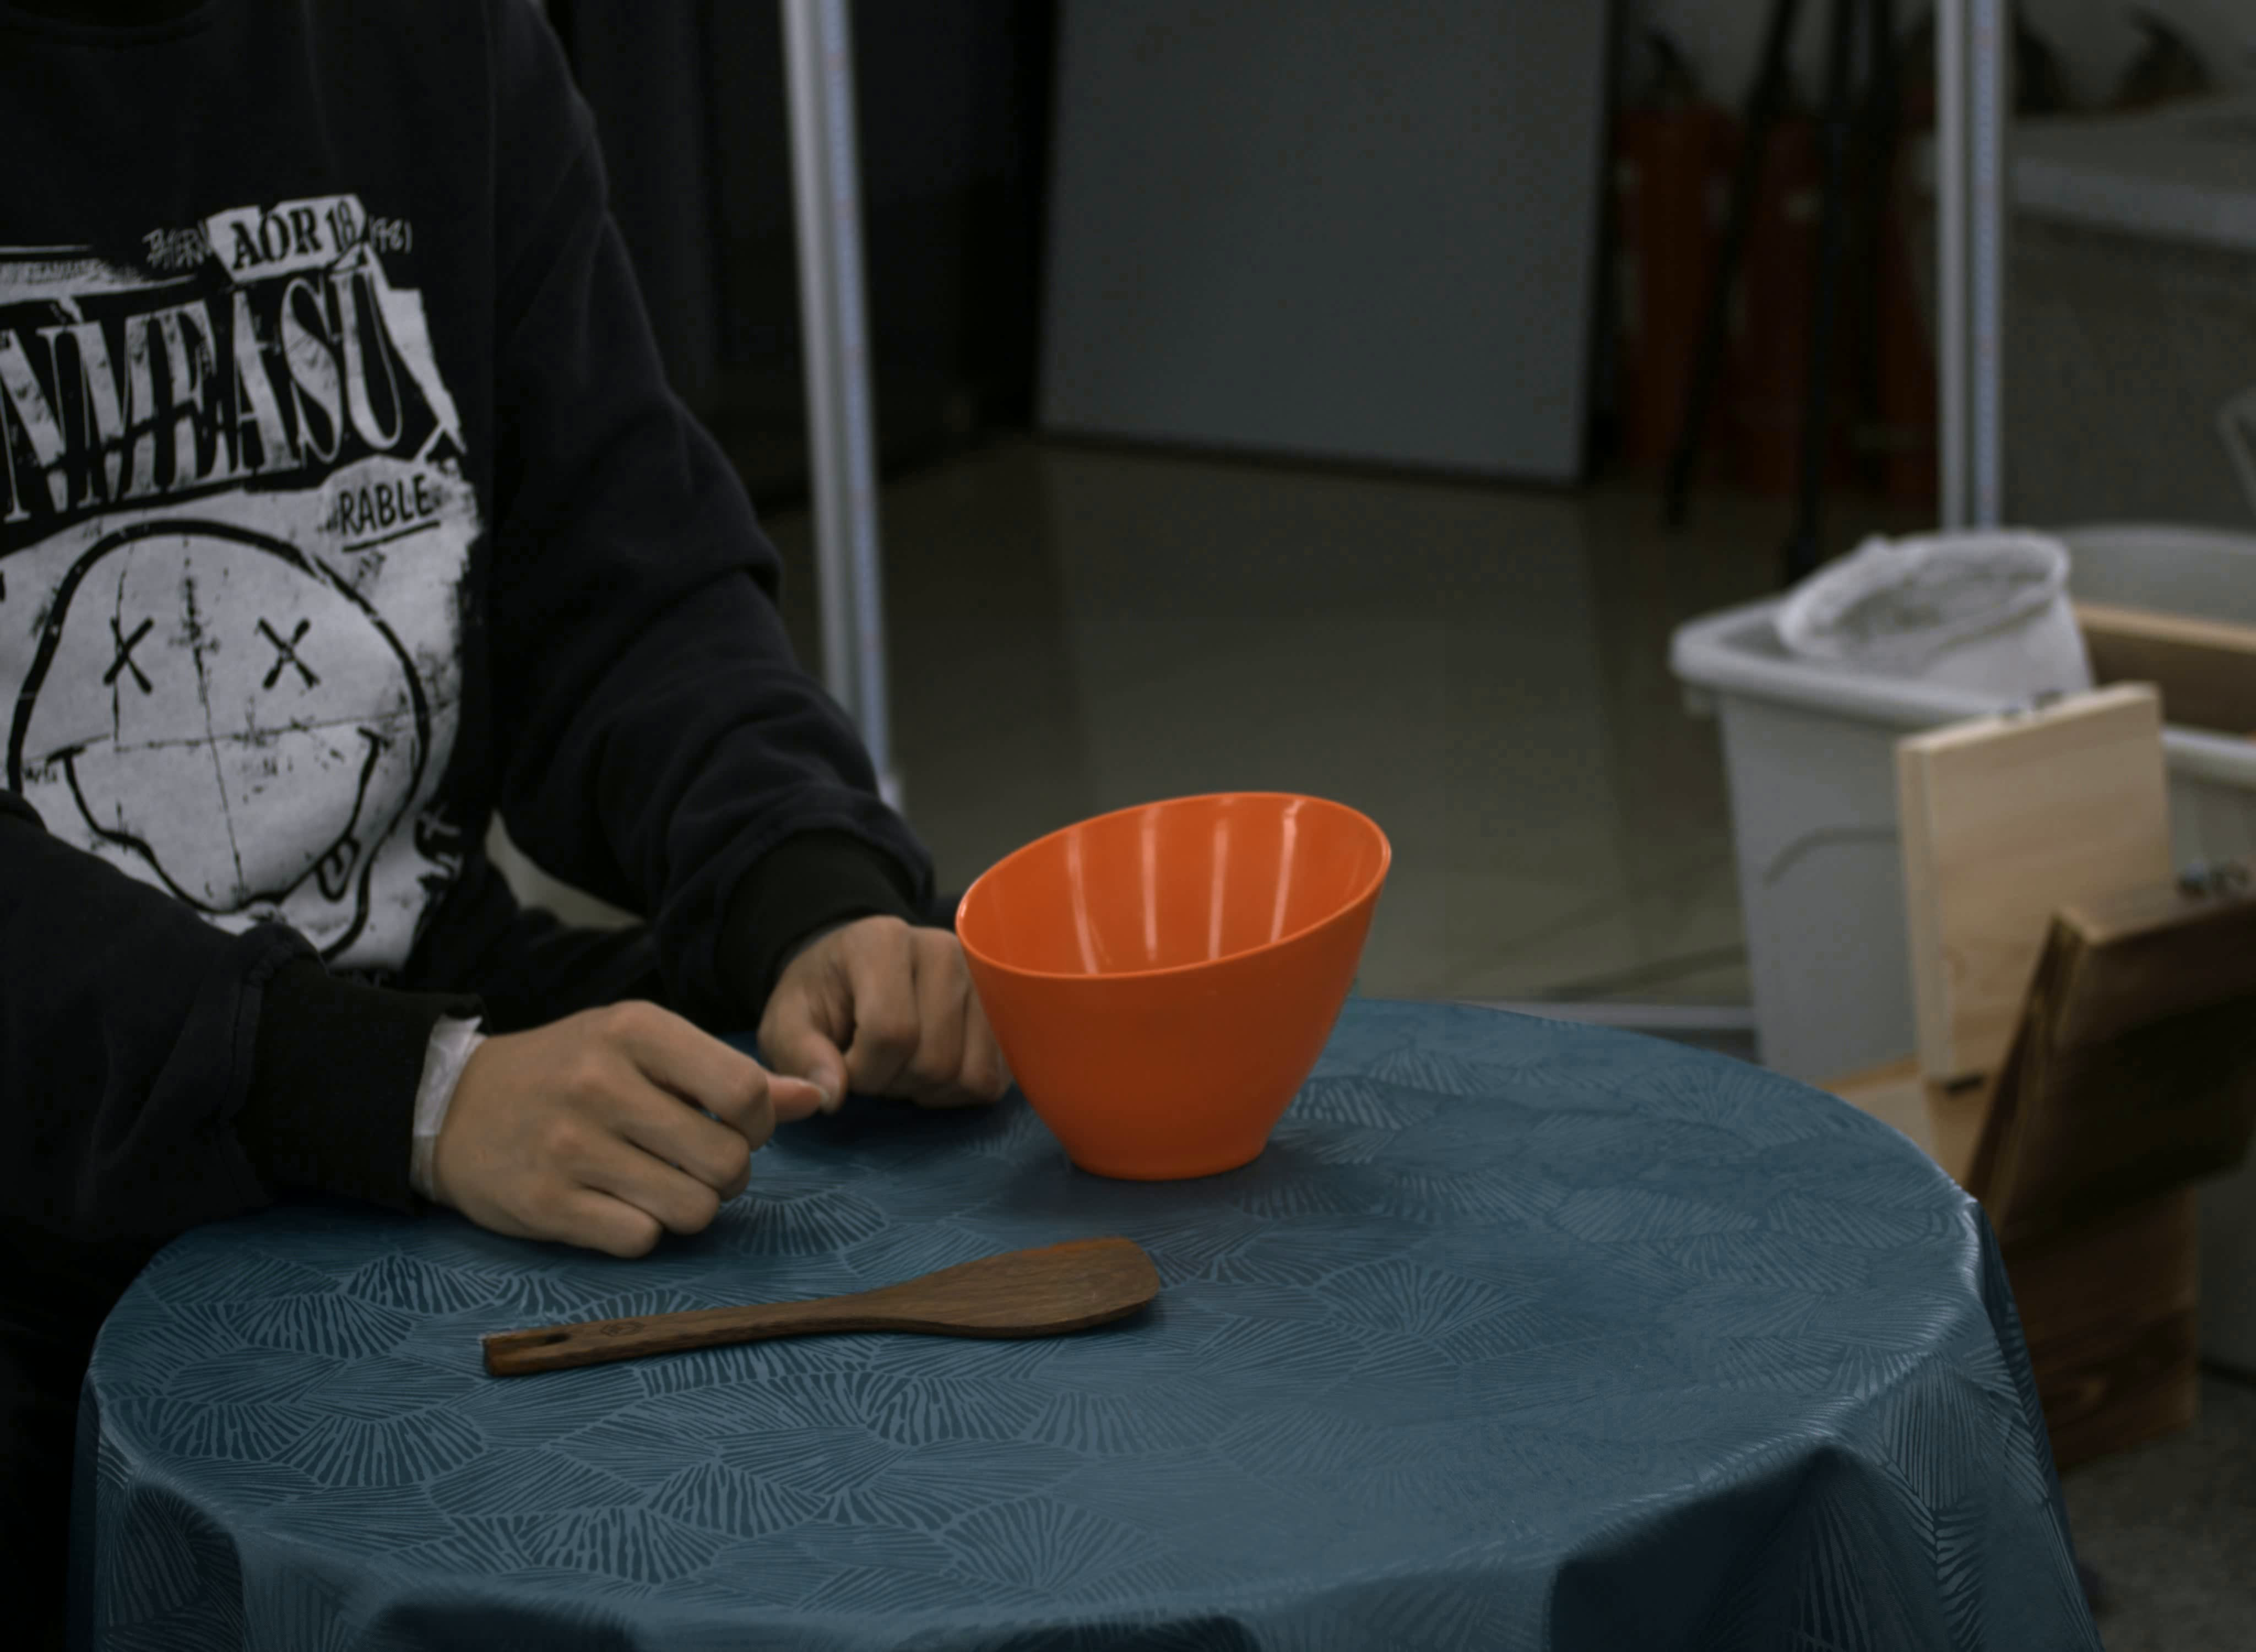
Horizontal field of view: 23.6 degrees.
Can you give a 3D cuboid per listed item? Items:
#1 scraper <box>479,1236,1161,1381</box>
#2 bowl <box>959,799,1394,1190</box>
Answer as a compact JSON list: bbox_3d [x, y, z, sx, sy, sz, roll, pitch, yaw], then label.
[{"bbox_3d":[-0.094,0.152,1.658,0.208,0.011,0.076,-7,14,-7],"label":"scraper"},{"bbox_3d":[0.018,0.060,1.804,0.146,0.106,0.148,-3,14,0],"label":"bowl"}]
